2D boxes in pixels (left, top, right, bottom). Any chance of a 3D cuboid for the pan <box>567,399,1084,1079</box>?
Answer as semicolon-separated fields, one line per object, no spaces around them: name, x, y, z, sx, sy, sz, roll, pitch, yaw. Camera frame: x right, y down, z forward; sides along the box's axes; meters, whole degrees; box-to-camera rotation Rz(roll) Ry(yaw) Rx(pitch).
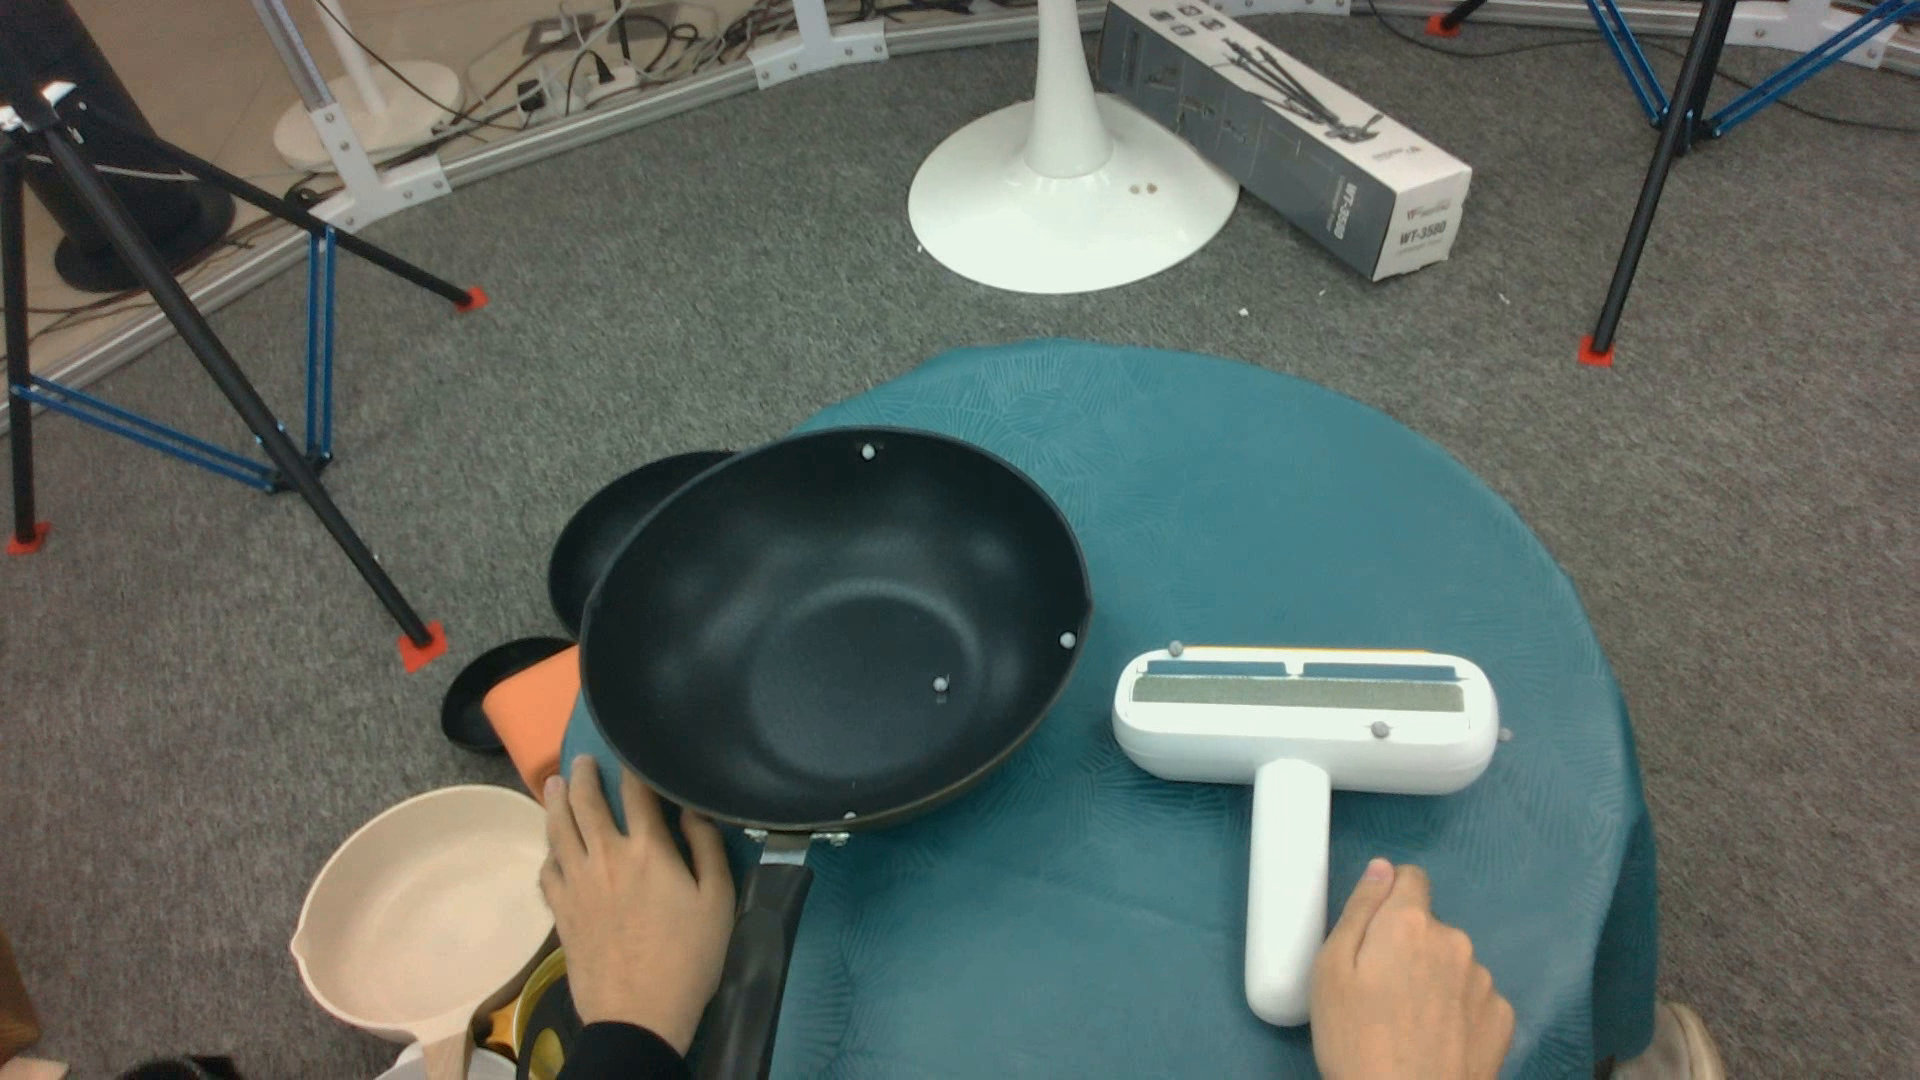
pan;-0.082;0.118;0.725;0.288;0.086;0.465;1;51;8

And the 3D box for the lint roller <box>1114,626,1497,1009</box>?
lint roller;0.162;0.133;0.689;0.192;0.074;0.193;5;53;19
